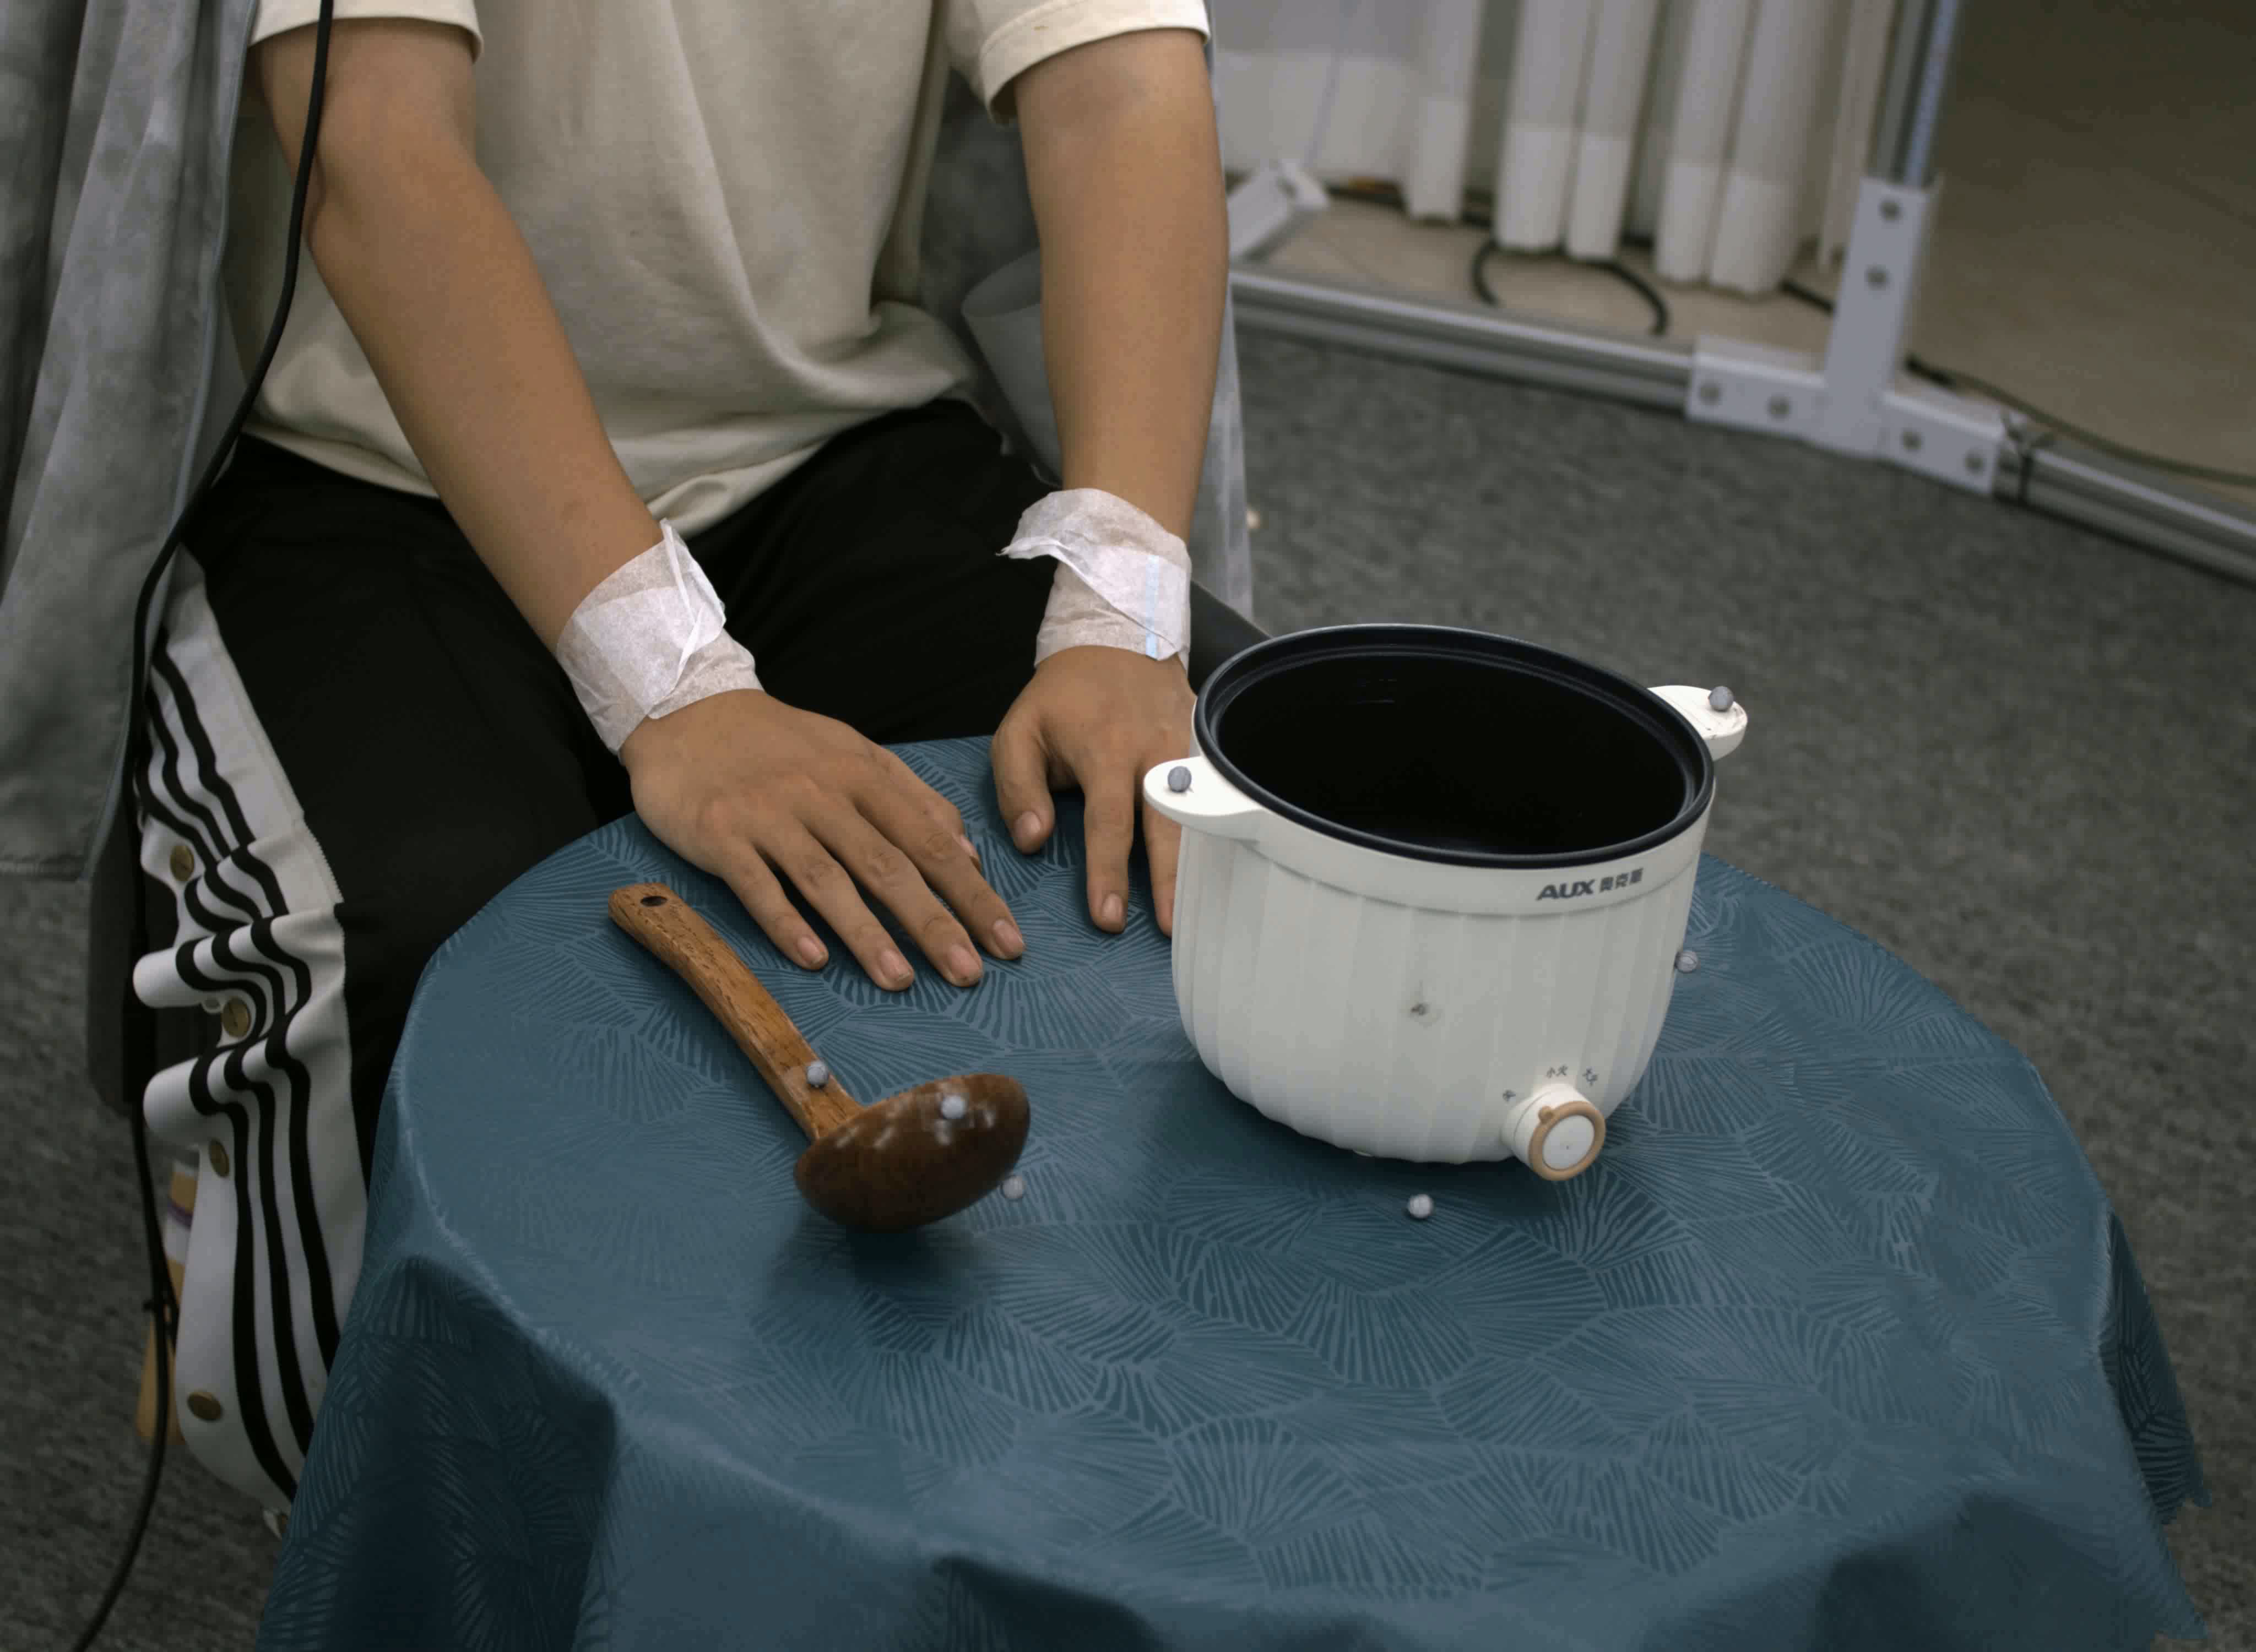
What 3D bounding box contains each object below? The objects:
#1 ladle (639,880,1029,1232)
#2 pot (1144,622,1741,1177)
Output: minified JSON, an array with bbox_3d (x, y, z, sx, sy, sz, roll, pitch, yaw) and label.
[{"bbox_3d":[-0.116,0.059,1.823,0.081,0.076,0.276,-9,31,-23],"label":"ladle"},{"bbox_3d":[0.109,0.030,1.861,0.239,0.142,0.192,-10,28,-28],"label":"pot"}]
